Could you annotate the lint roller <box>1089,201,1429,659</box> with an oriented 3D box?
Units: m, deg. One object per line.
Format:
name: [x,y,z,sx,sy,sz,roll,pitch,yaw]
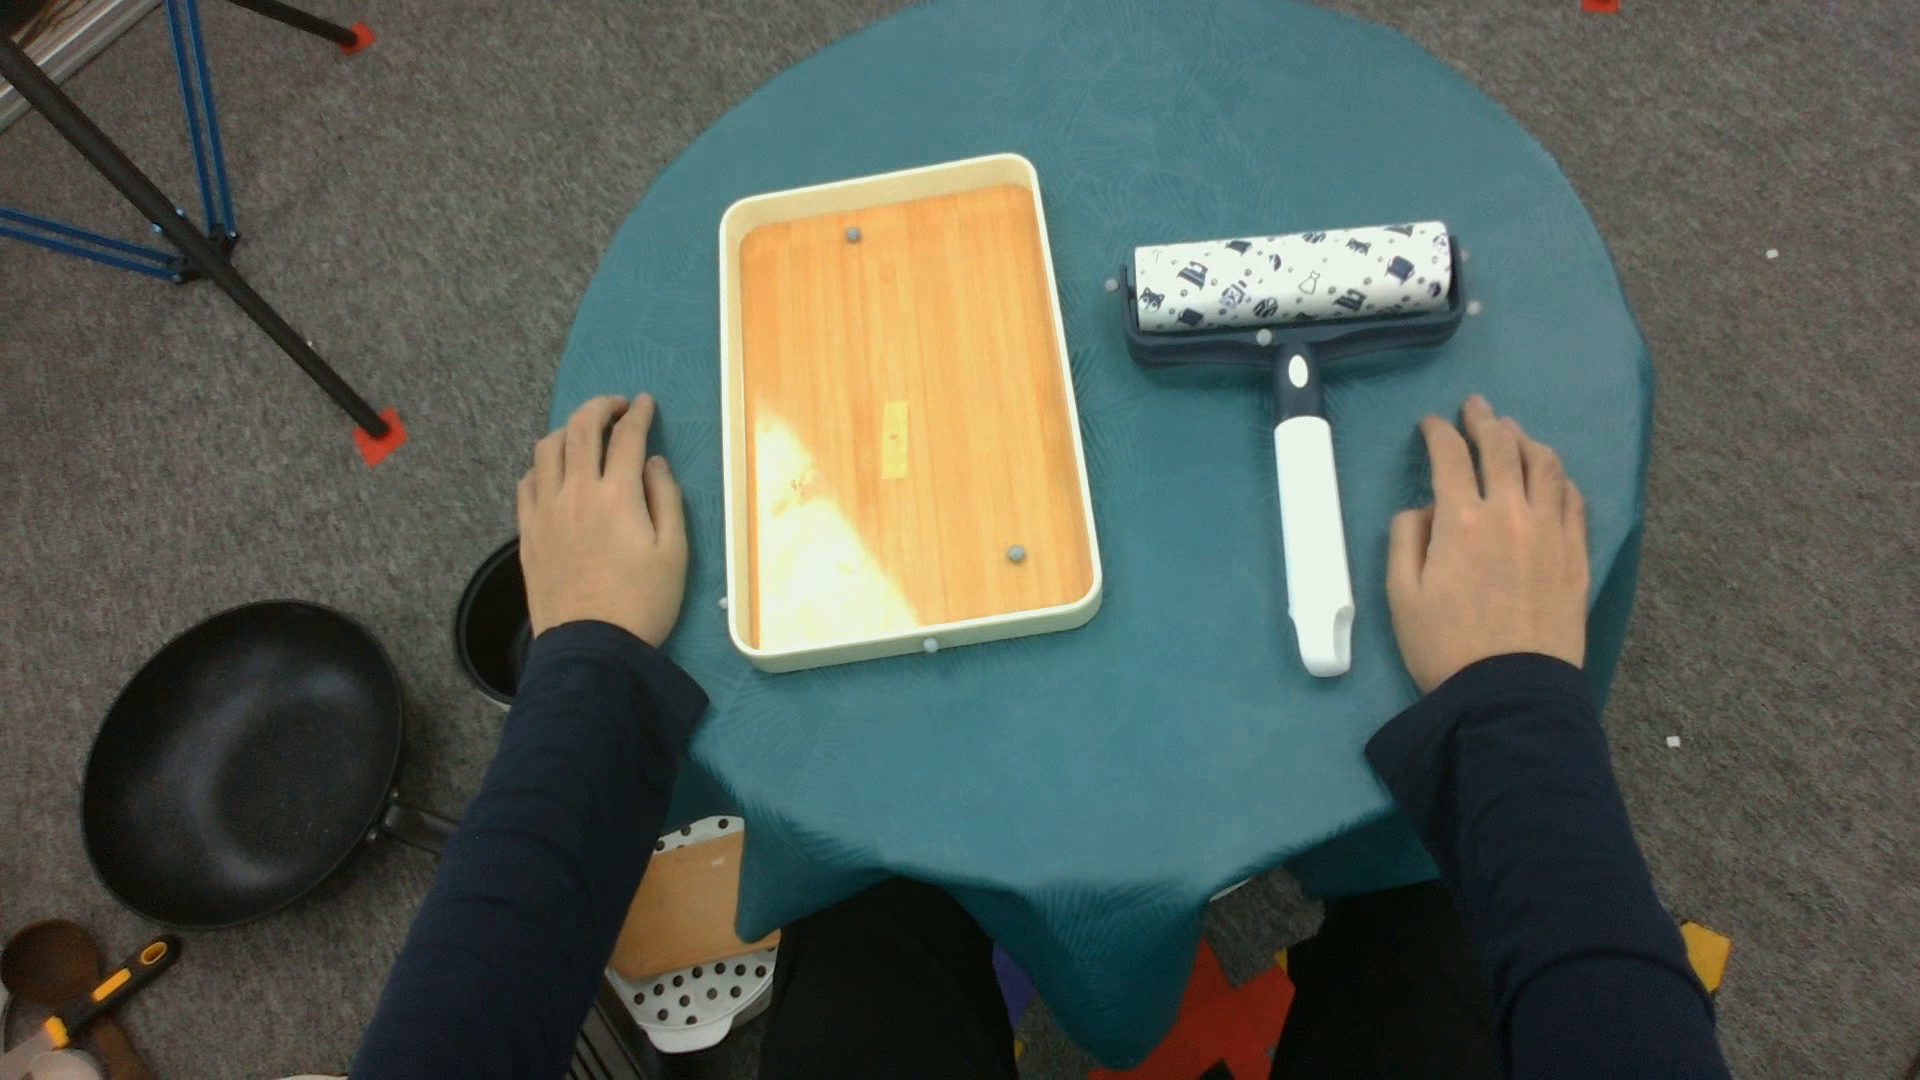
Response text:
lint roller: [0.161,-0.062,0.702,0.176,0.050,0.248,-4,66,5]

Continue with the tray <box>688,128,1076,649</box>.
tray: [-0.050,-0.093,0.752,0.191,0.027,0.301,-9,63,3]
